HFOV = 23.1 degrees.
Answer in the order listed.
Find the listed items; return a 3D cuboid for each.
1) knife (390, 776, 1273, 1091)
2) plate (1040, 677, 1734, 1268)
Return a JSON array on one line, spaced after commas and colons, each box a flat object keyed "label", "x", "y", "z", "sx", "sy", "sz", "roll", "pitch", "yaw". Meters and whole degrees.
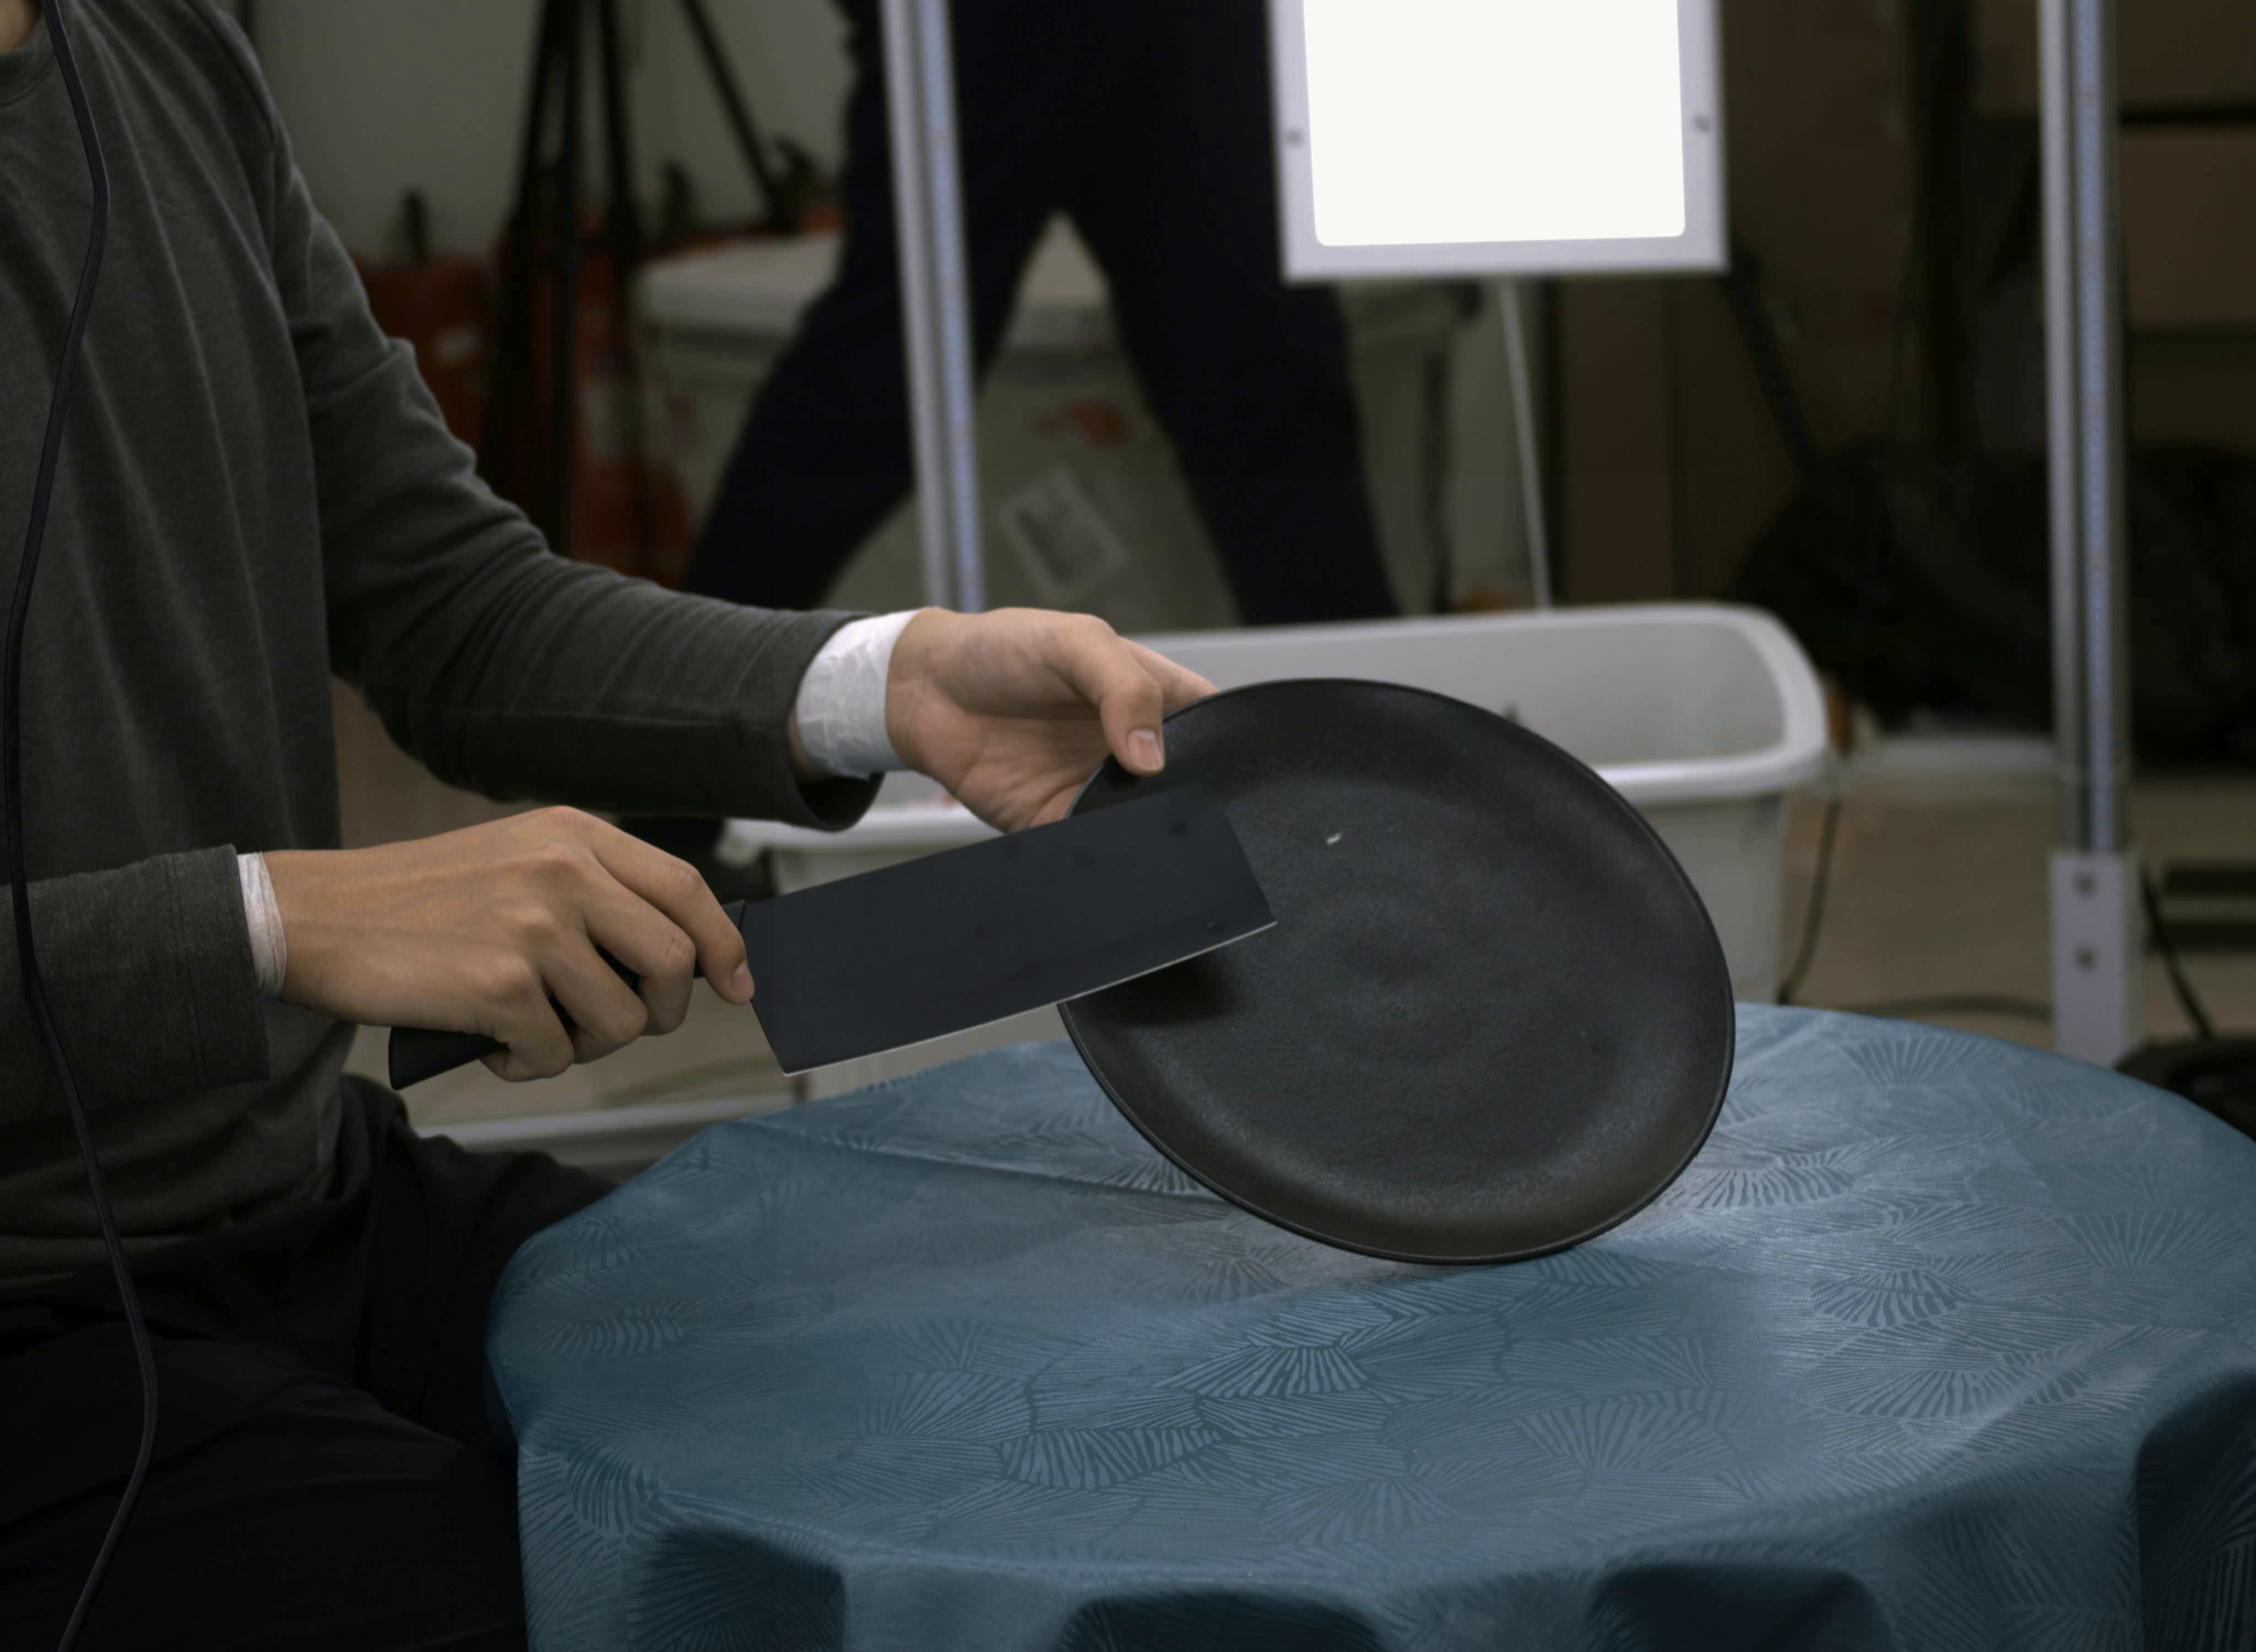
[{"label": "knife", "x": -0.098, "y": 0.044, "z": 1.816, "sx": 0.298, "sy": 0.021, "sz": 0.081, "roll": -12, "pitch": 60, "yaw": -14}, {"label": "plate", "x": 0.087, "y": 0.051, "z": 1.862, "sx": 0.242, "sy": 0.024, "sz": 0.244, "roll": 6, "pitch": 52, "yaw": -9}]
